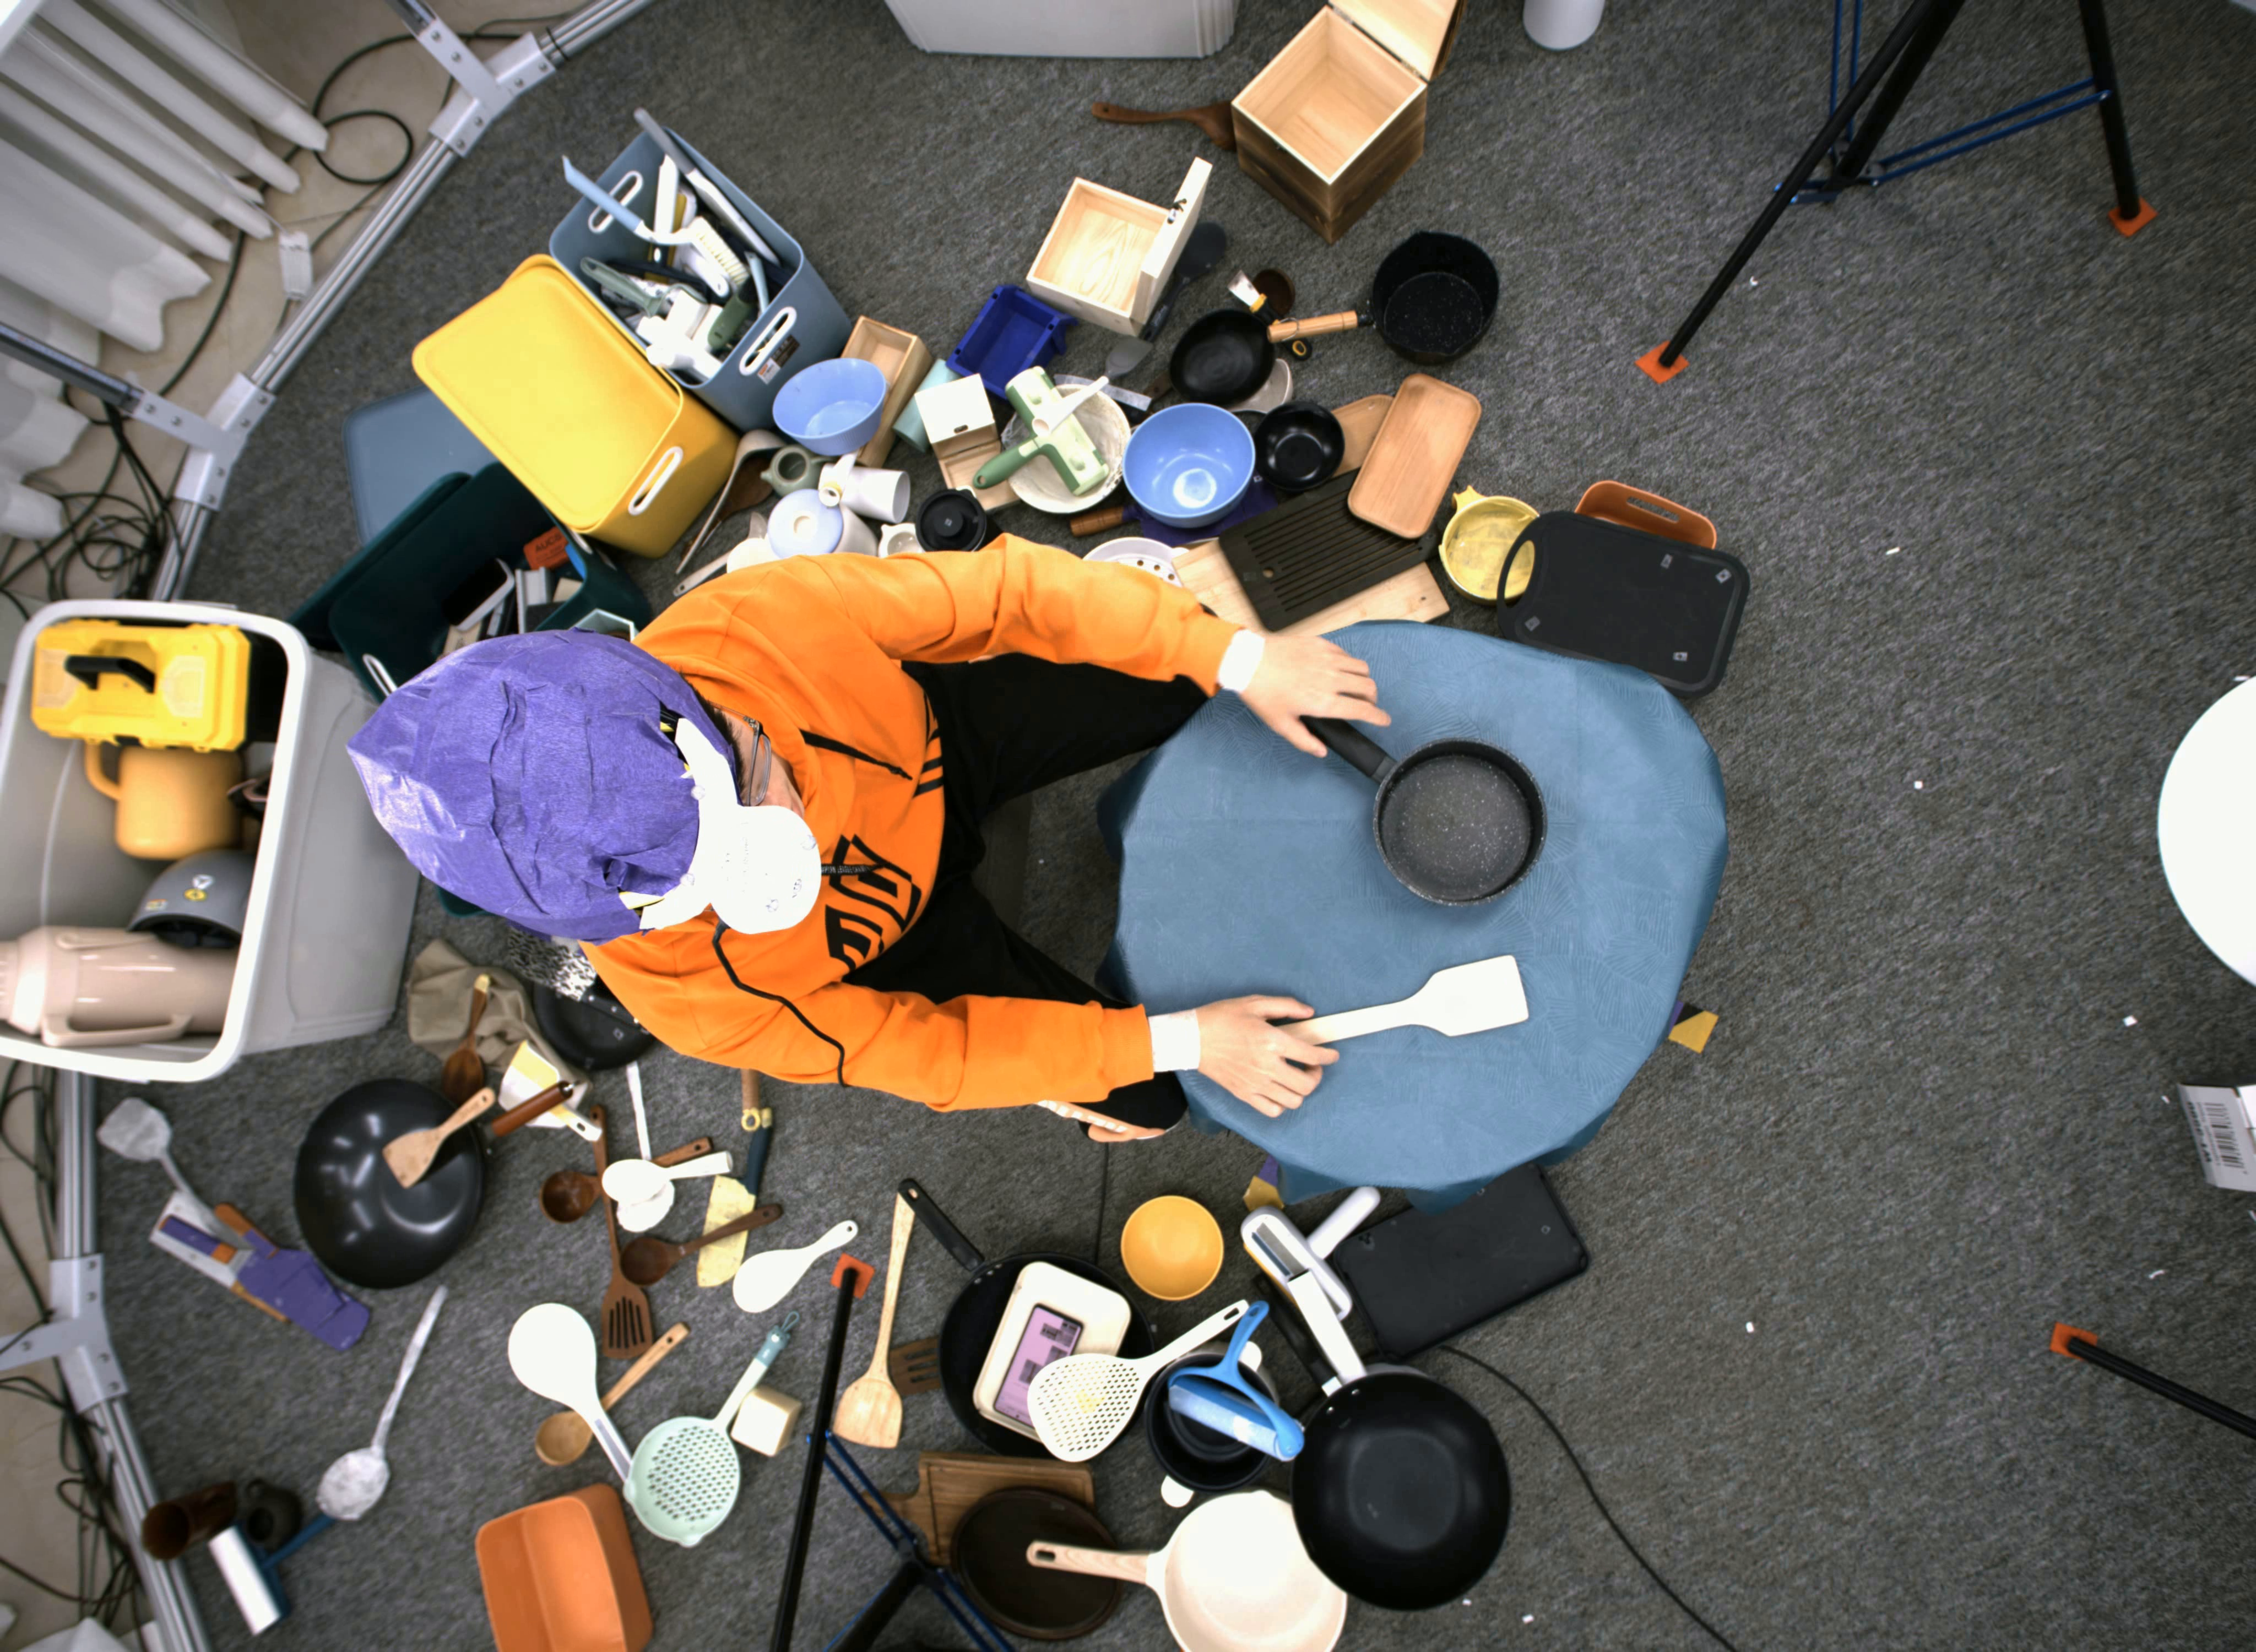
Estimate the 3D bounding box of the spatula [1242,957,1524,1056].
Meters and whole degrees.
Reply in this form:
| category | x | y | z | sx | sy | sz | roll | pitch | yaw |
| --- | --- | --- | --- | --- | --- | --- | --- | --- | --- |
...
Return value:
| category | x | y | z | sx | sy | sz | roll | pitch | yaw |
| --- | --- | --- | --- | --- | --- | --- | --- | --- | --- |
| spatula | 0.263 | 0.199 | 1.446 | 0.294 | 0.010 | 0.072 | -13 | 88 | 7 |

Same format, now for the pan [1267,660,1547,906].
| category | x | y | z | sx | sy | sz | roll | pitch | yaw |
| --- | --- | --- | --- | --- | --- | --- | --- | --- | --- |
| pan | 0.277 | -0.053 | 1.423 | 0.327 | 0.086 | 0.172 | 40 | 93 | 8 |
